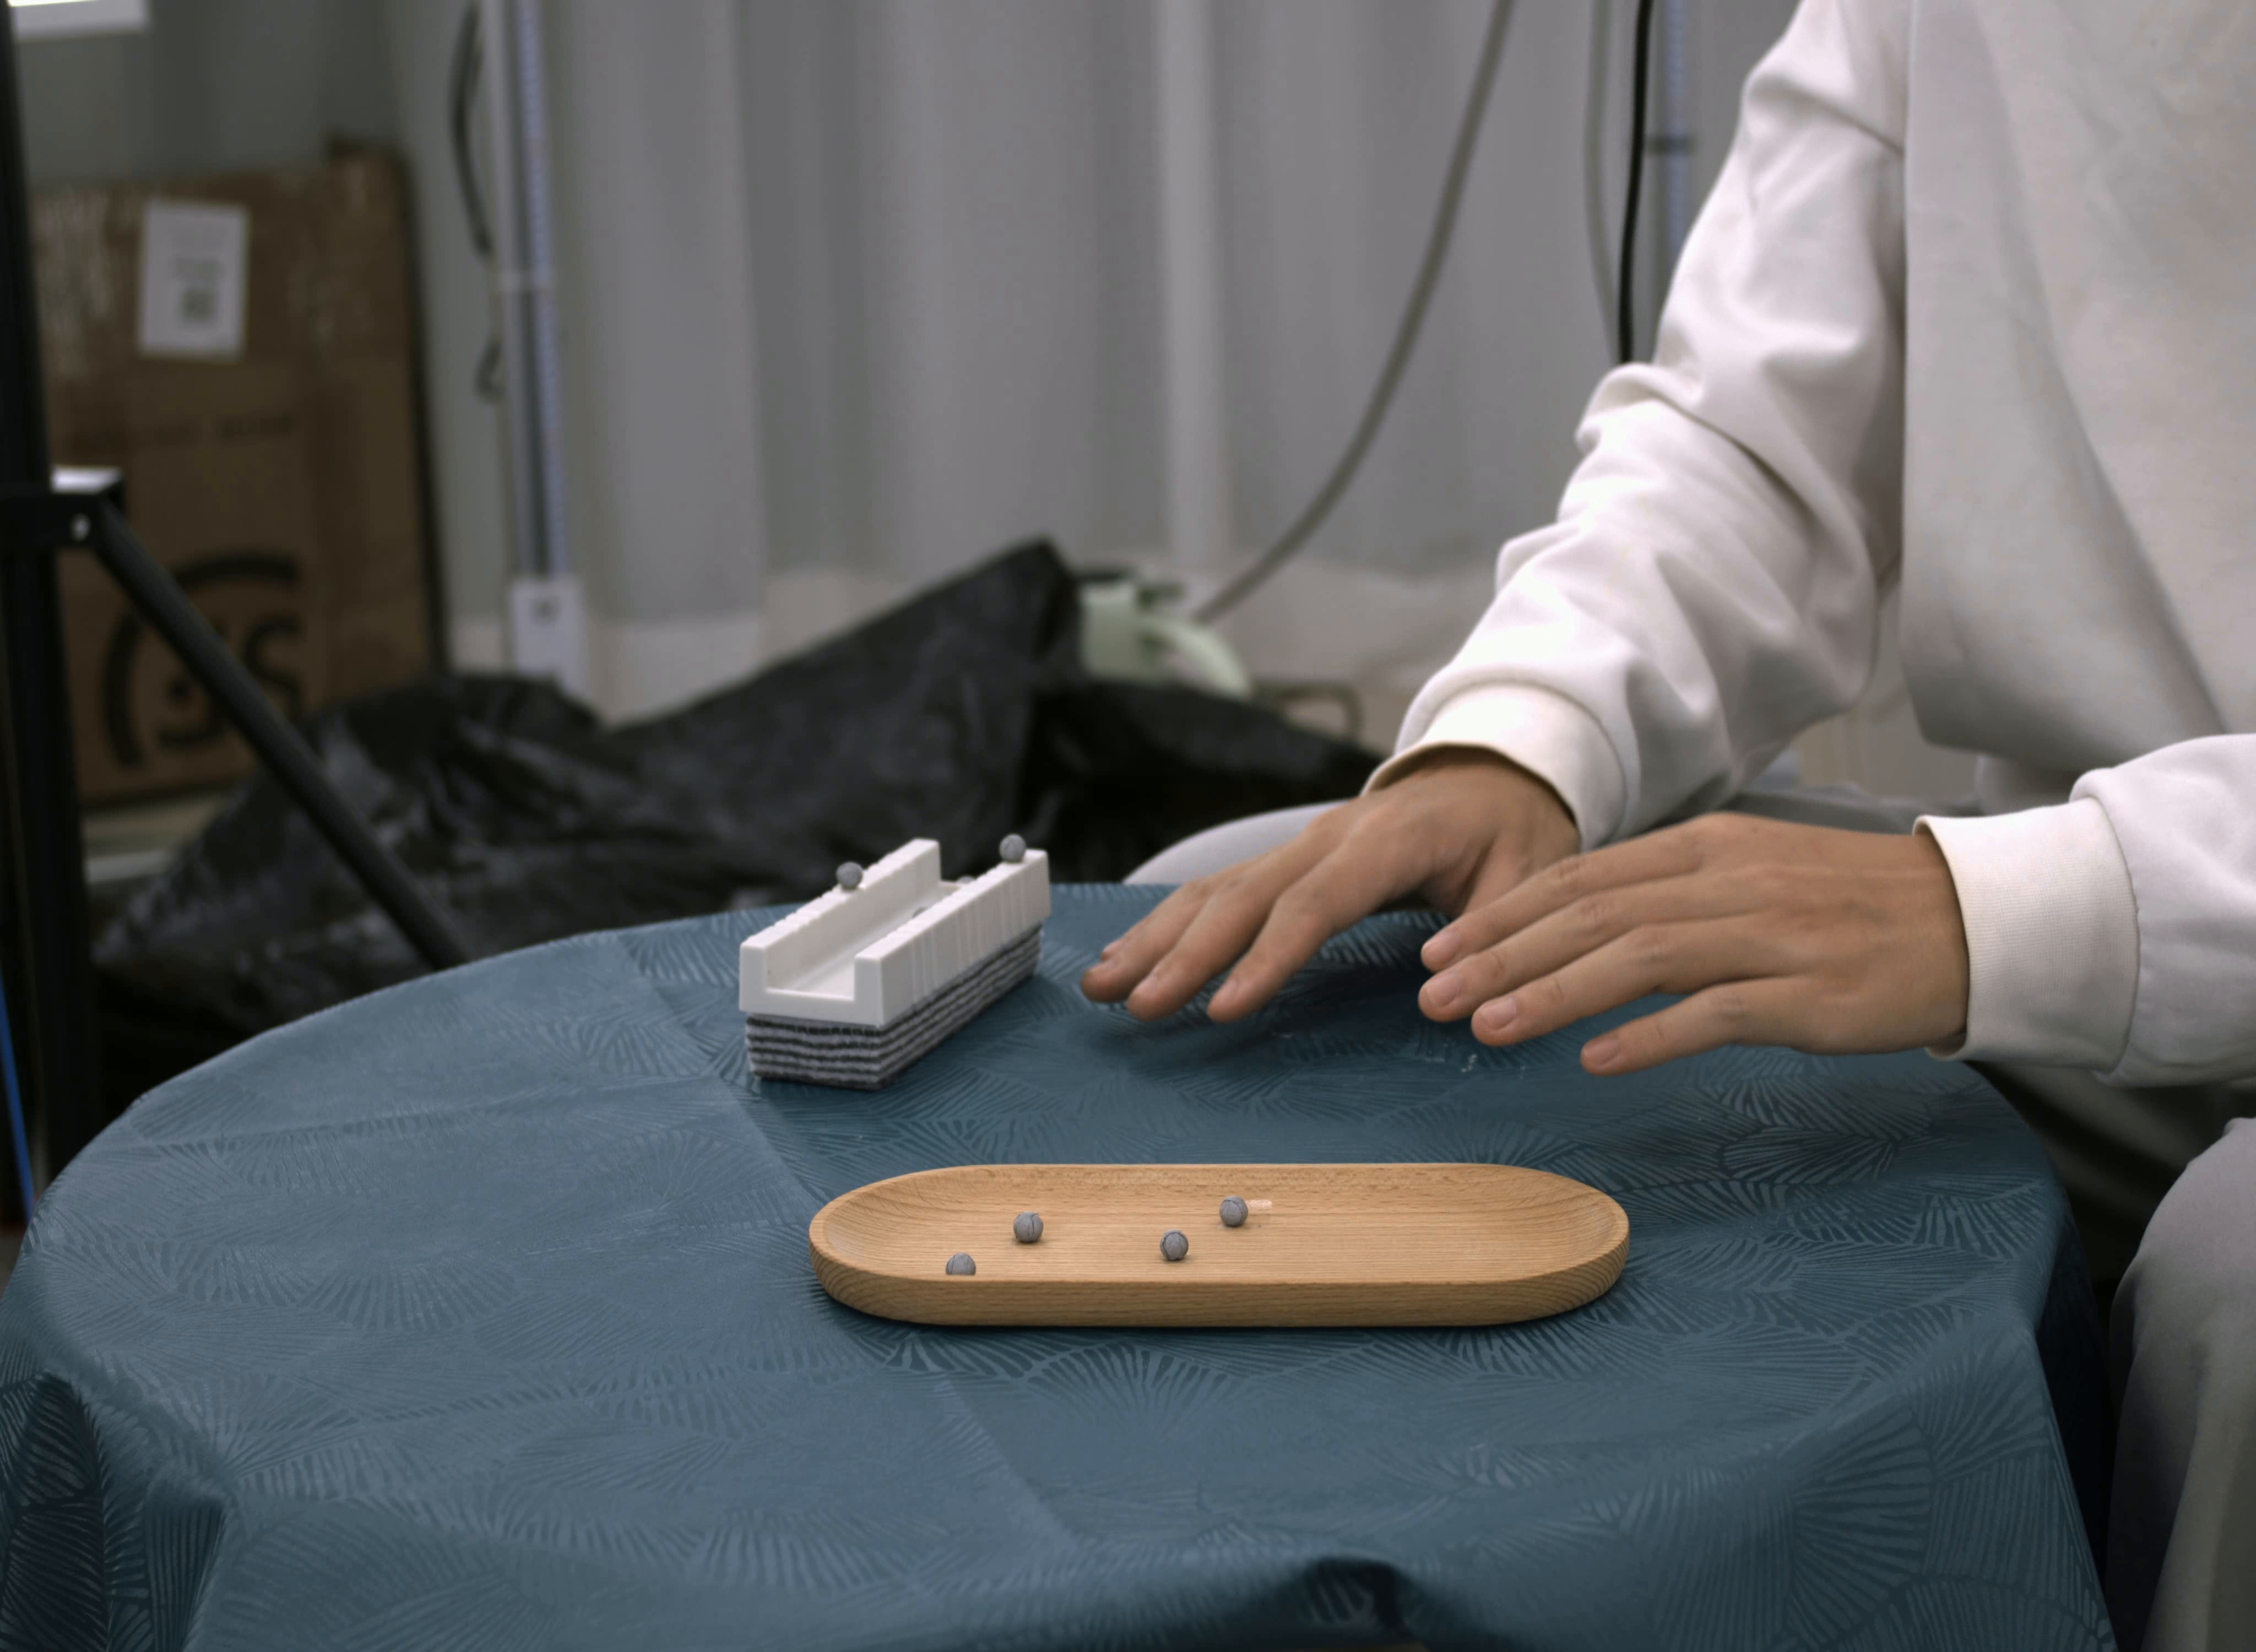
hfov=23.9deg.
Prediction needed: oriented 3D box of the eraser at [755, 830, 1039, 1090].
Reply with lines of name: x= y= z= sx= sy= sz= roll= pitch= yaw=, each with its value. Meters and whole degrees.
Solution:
eraser: x=-0.073 y=0.042 z=1.715 sx=0.050 sy=0.046 sz=0.133 roll=8 pitch=18 yaw=17

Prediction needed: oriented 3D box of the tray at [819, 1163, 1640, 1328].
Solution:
tray: x=0.028 y=0.118 z=1.489 sx=0.231 sy=0.020 sz=0.102 roll=1 pitch=16 yaw=5
